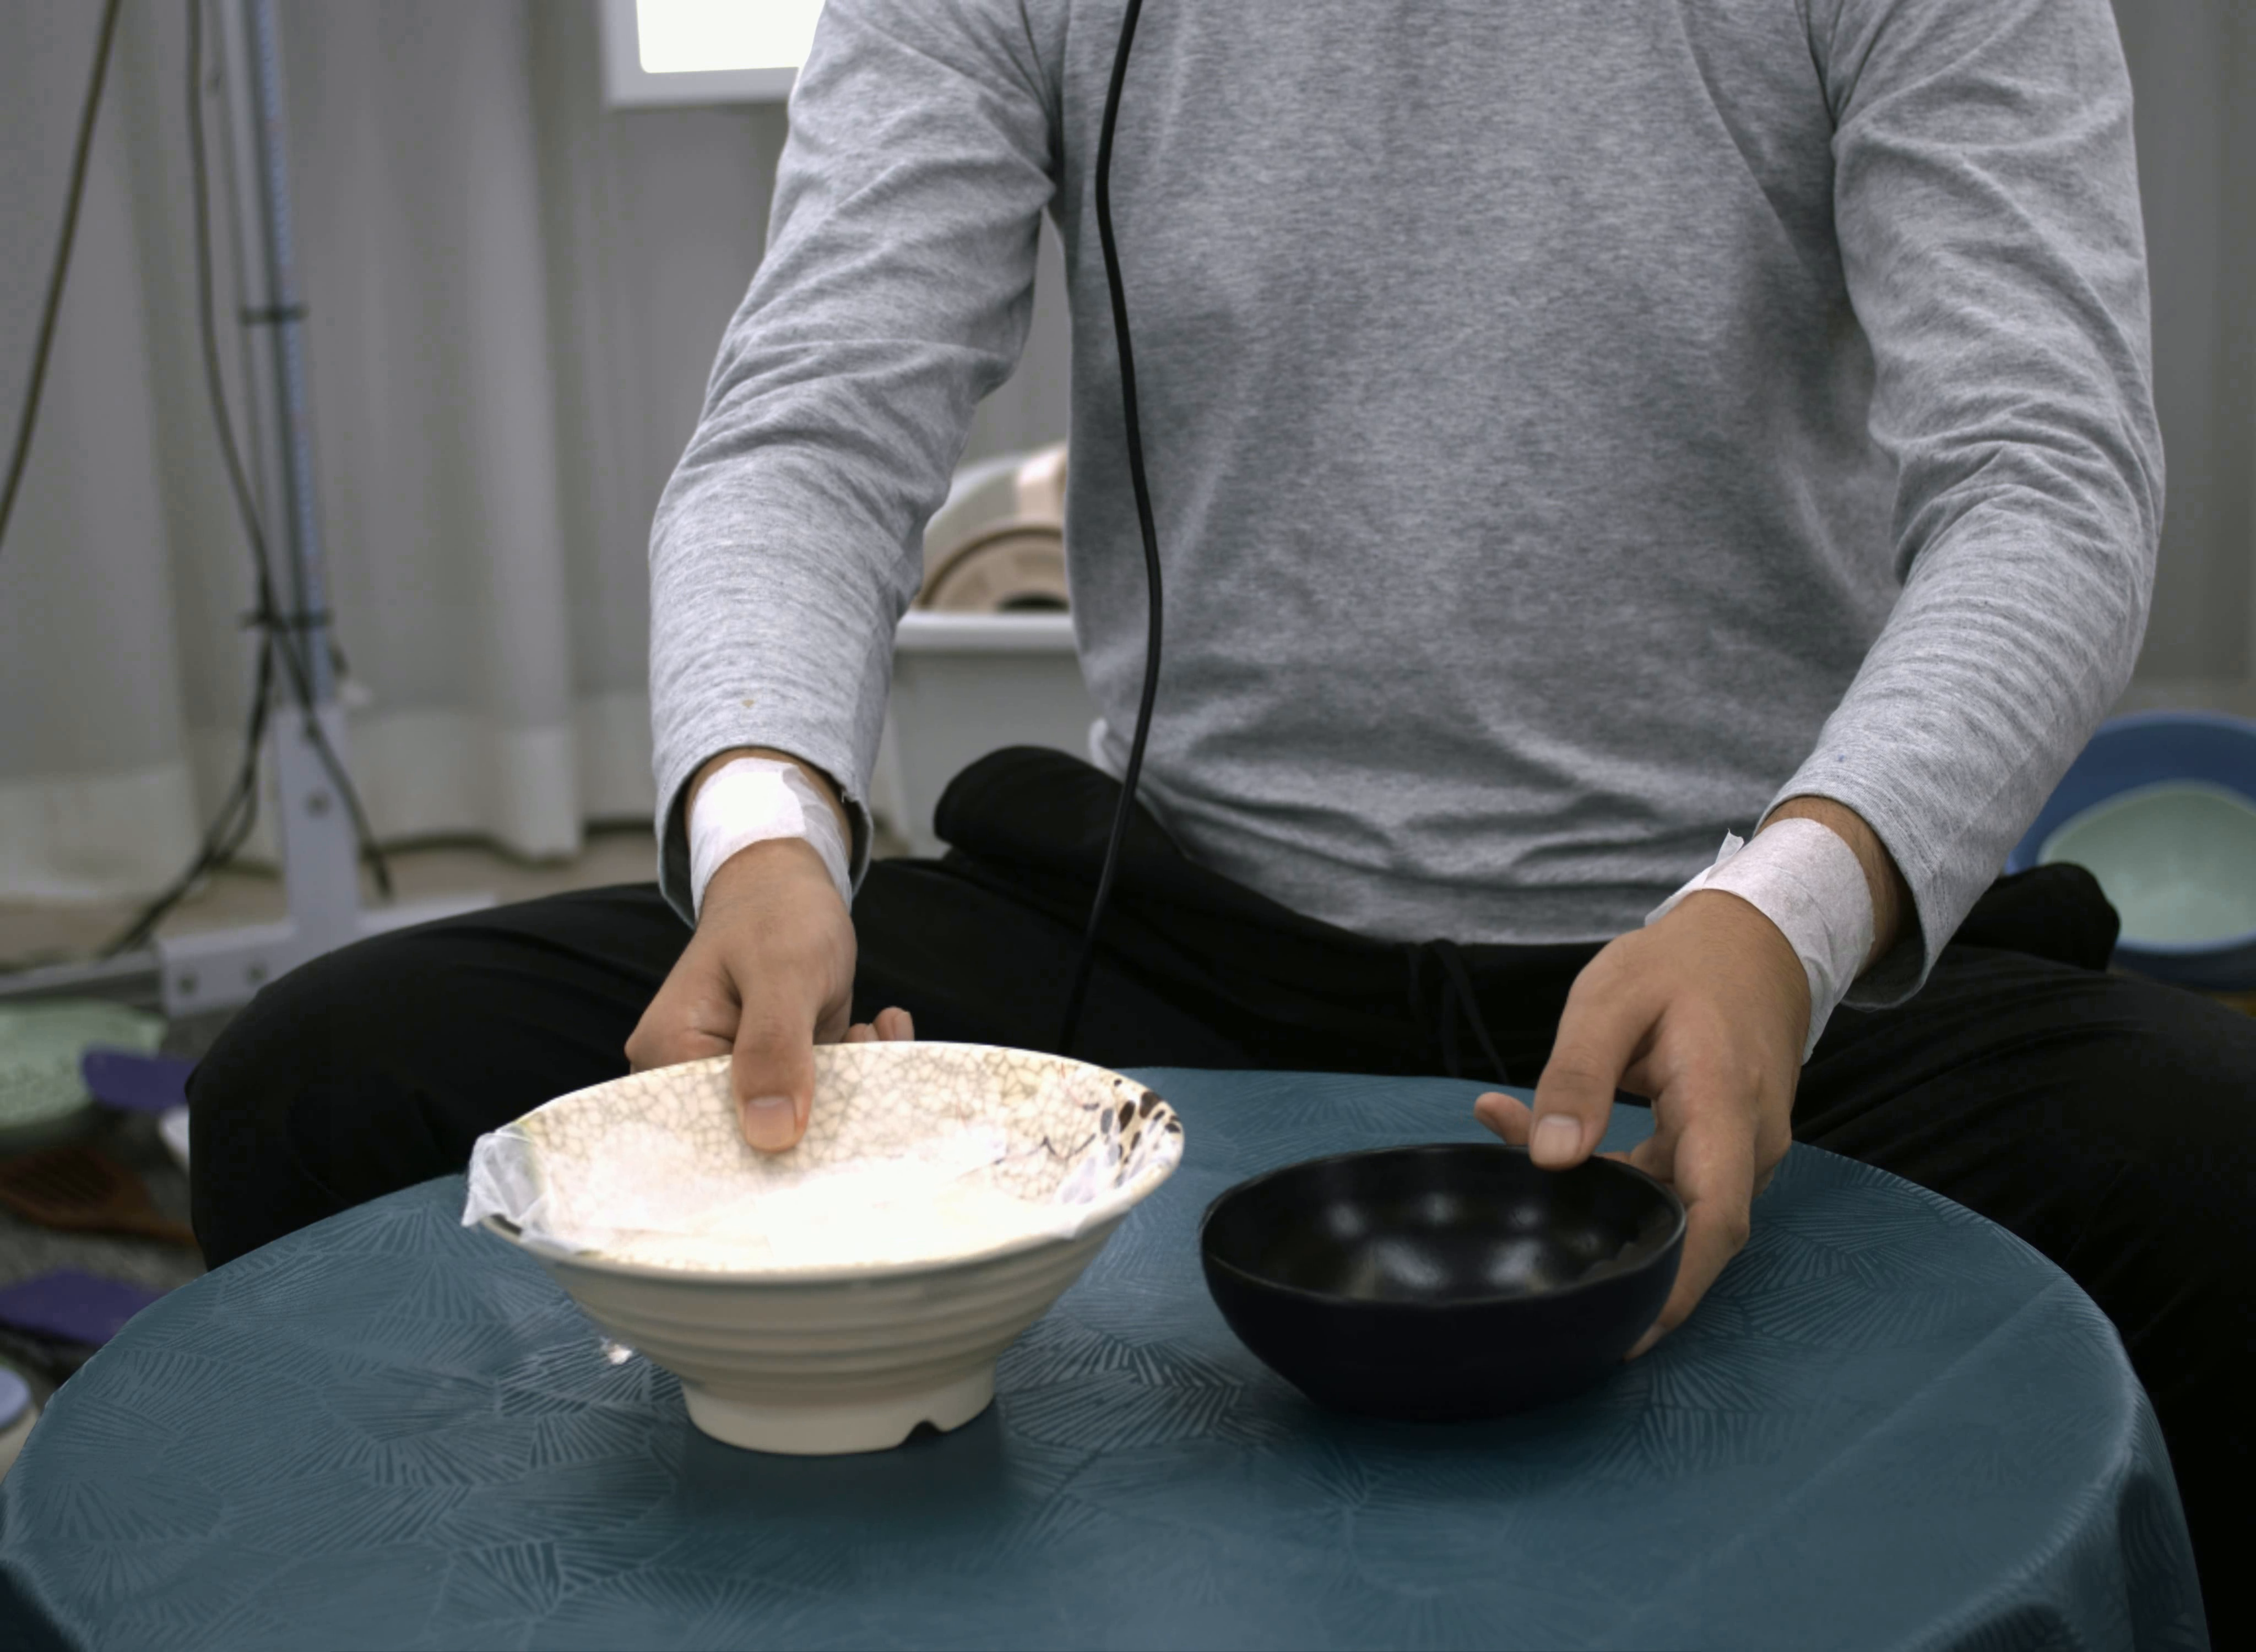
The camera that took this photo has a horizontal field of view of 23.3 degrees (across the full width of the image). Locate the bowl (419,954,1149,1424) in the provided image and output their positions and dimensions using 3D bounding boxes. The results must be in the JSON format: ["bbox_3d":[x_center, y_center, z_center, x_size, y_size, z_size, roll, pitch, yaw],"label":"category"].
[{"bbox_3d":[-0.094,0.113,1.536,0.203,0.077,0.206,-3,23,1],"label":"bowl"}]

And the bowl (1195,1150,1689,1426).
[{"bbox_3d":[0.088,0.134,1.536,0.139,0.049,0.141,0,13,0],"label":"bowl"}]
